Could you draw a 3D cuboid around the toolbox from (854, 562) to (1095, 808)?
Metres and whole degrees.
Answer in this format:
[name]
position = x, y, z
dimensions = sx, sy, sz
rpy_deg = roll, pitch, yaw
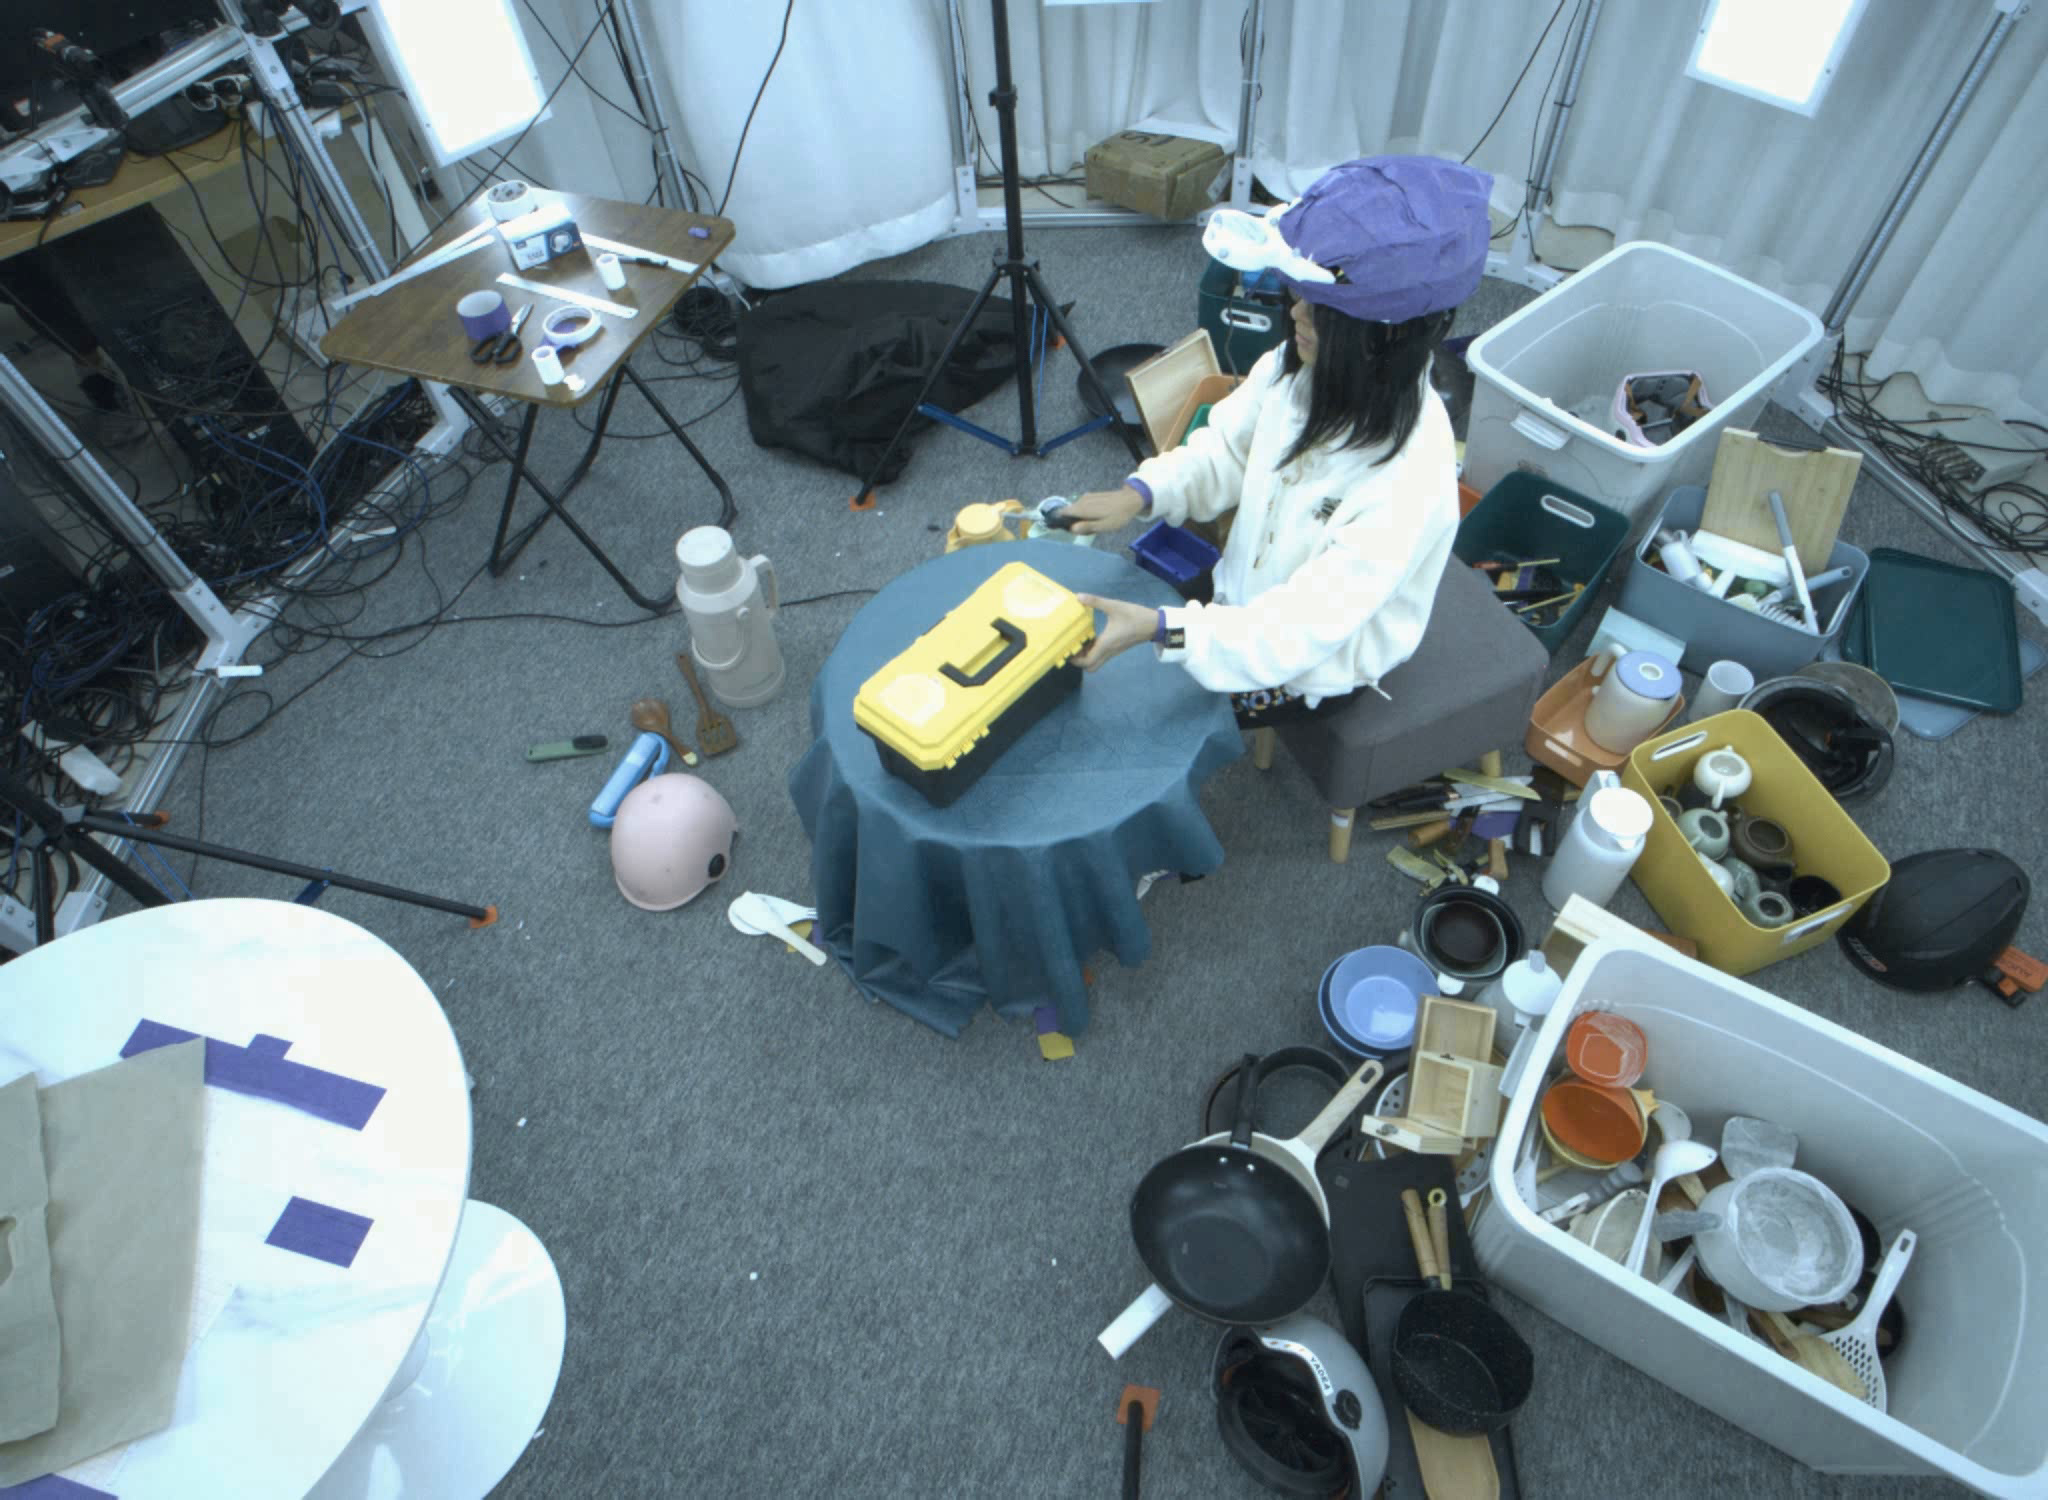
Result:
[toolbox]
position = -0.064, -0.093, 1.749
dimensions = 0.178, 0.175, 0.353
rpy_deg = 35, 63, 24

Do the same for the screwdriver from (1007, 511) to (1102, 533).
[screwdriver]
position = 0.044, -0.347, 1.824
dimensions = 0.200, 0.031, 0.031
rpy_deg = 1, 43, -45
